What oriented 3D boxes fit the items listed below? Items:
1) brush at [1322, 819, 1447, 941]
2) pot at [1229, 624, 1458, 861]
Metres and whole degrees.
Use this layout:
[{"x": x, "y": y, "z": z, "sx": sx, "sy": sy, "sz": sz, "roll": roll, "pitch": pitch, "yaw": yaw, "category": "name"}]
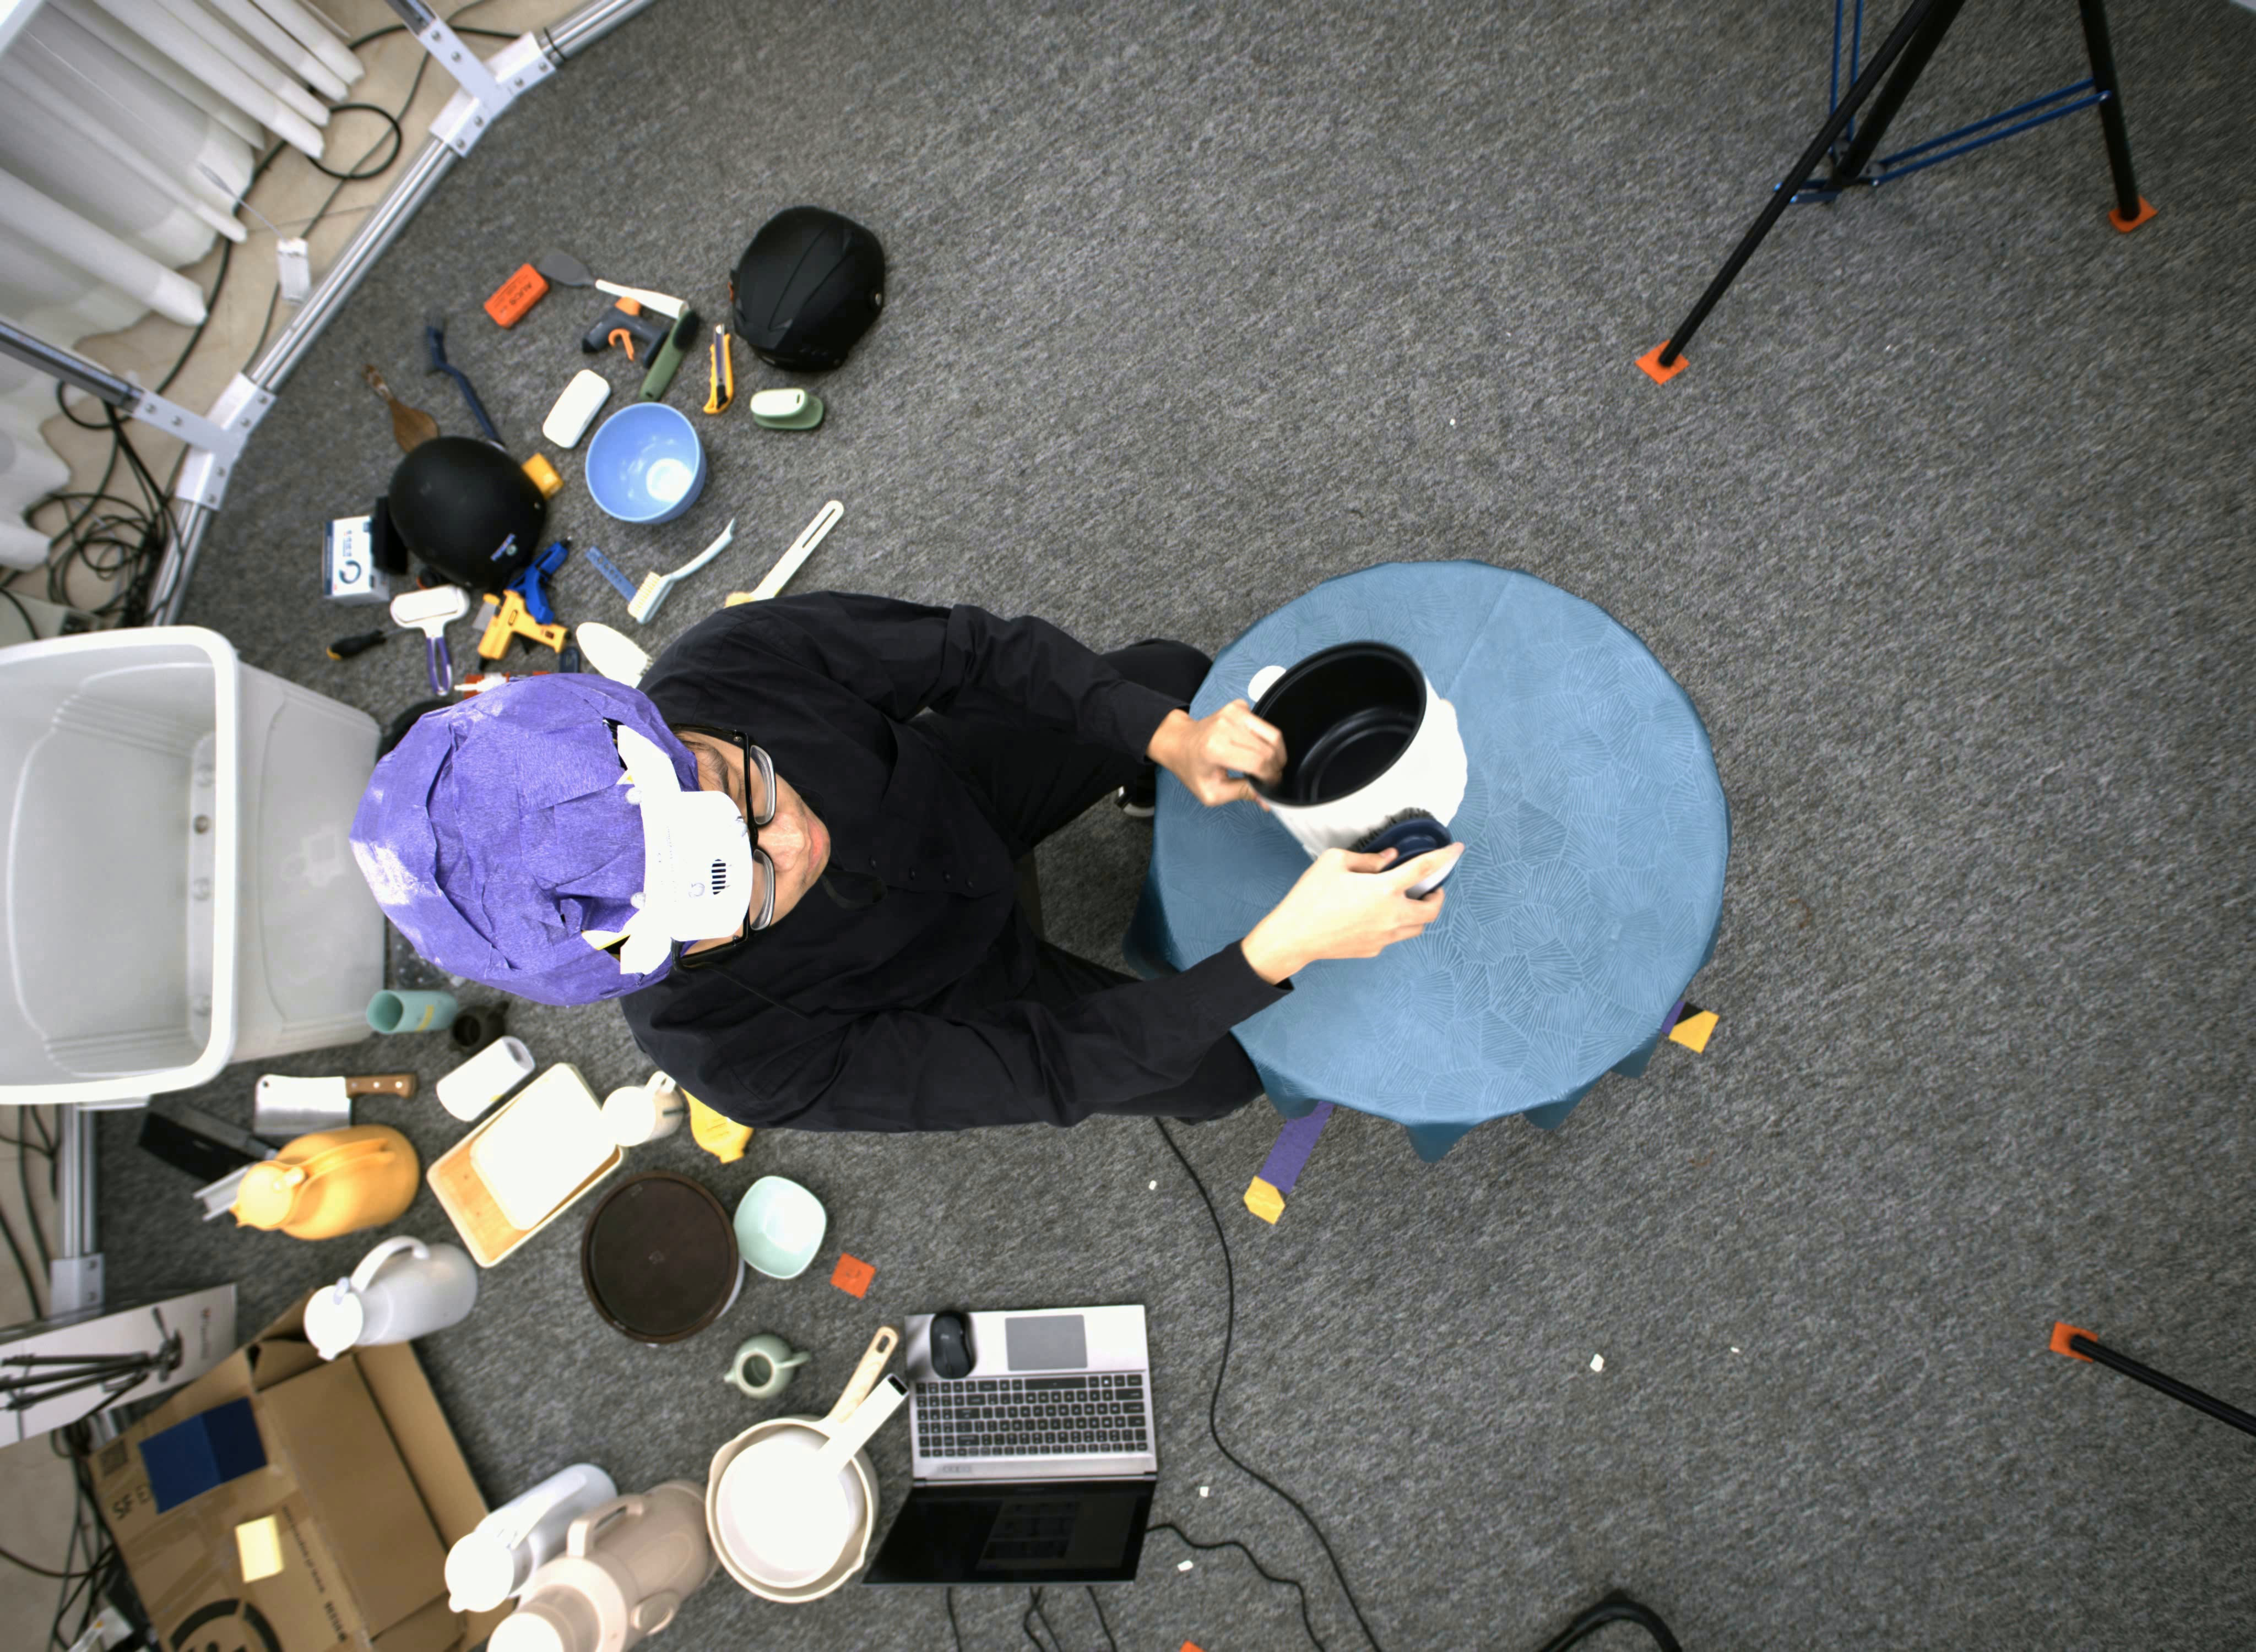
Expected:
[{"x": 0.222, "y": 0.045, "z": 1.205, "sx": 0.124, "sy": 0.068, "sz": 0.059, "roll": -40, "pitch": 40, "yaw": 27, "category": "brush"}, {"x": 0.208, "y": -0.078, "z": 1.261, "sx": 0.190, "sy": 0.144, "sz": 0.237, "roll": -50, "pitch": 43, "yaw": -1, "category": "pot"}]
